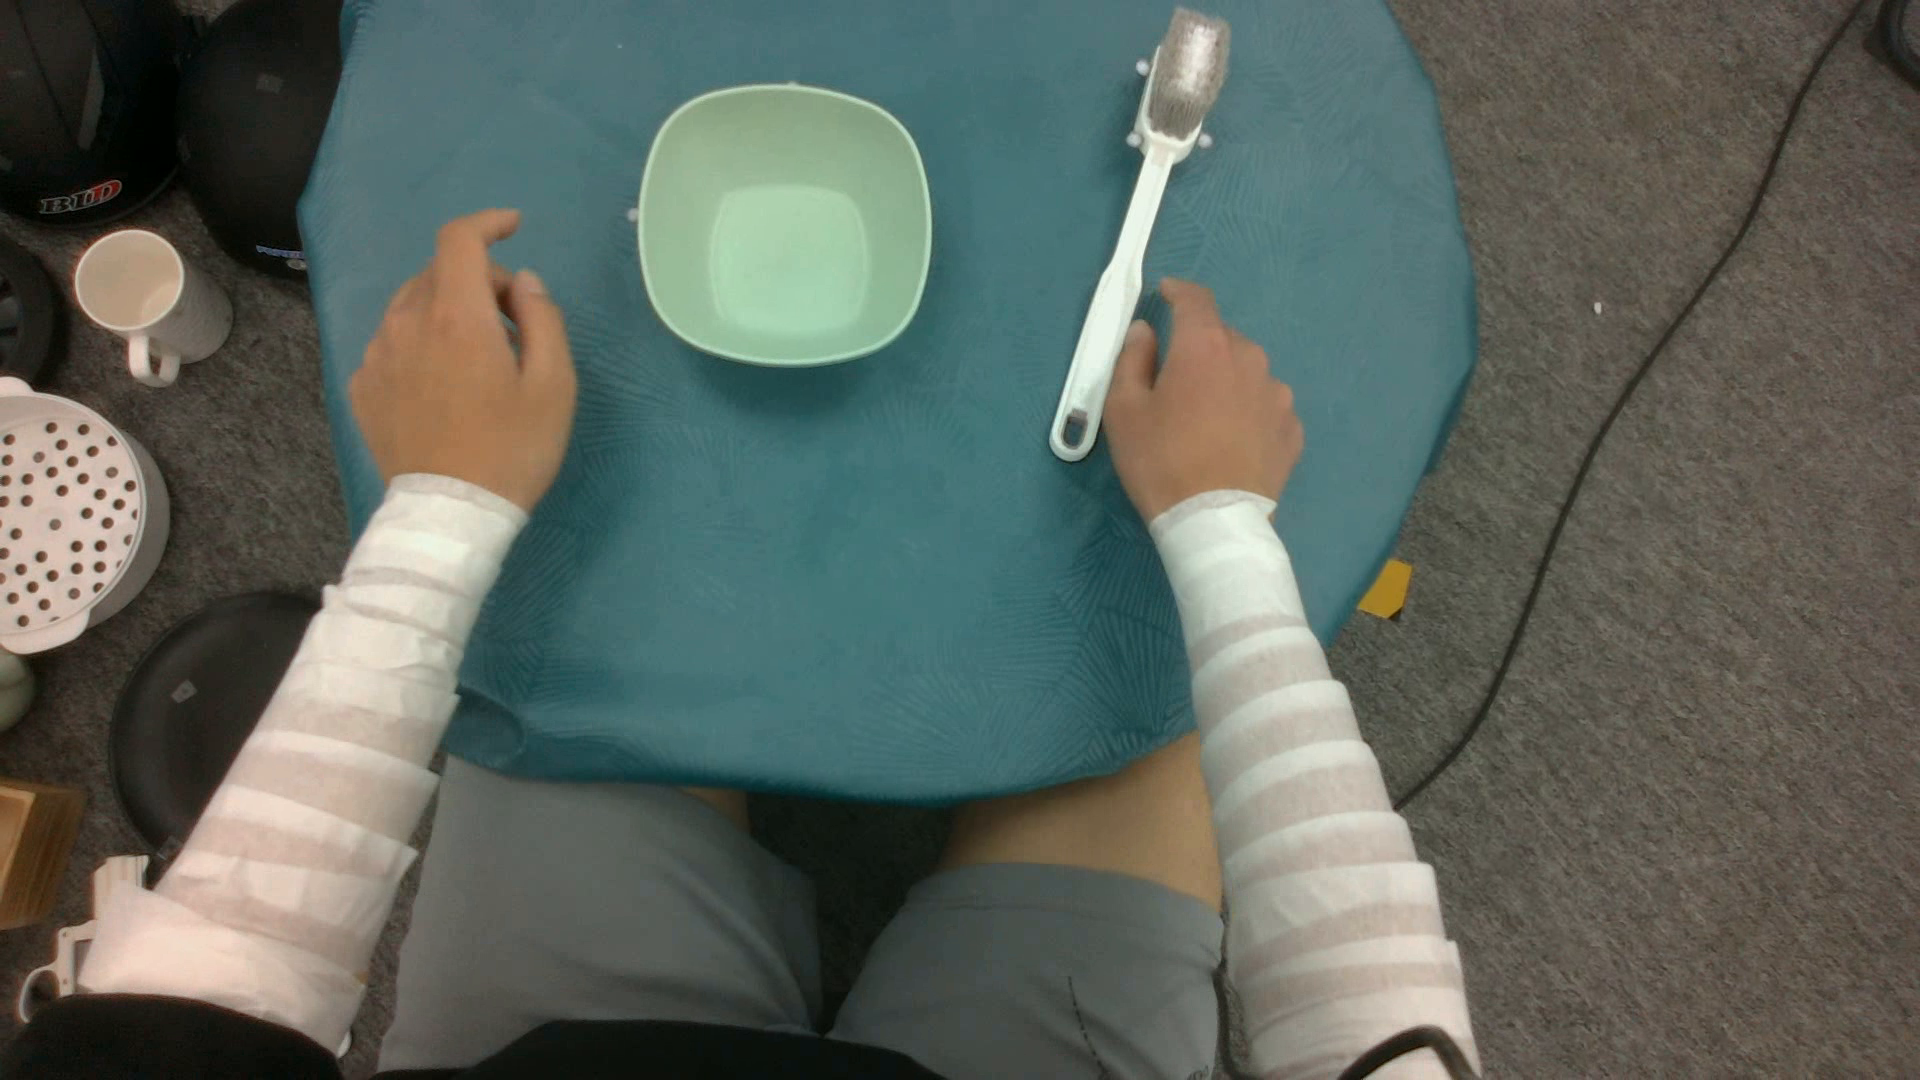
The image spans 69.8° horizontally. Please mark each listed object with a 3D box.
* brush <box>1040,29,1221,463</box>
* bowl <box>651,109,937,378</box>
[{"bbox_3d":[0.089,-0.157,0.719,0.034,0.050,0.244,19,77,-2],"label":"brush"},{"bbox_3d":[-0.082,-0.141,0.697,0.151,0.058,0.151,1,79,-3],"label":"bowl"}]
